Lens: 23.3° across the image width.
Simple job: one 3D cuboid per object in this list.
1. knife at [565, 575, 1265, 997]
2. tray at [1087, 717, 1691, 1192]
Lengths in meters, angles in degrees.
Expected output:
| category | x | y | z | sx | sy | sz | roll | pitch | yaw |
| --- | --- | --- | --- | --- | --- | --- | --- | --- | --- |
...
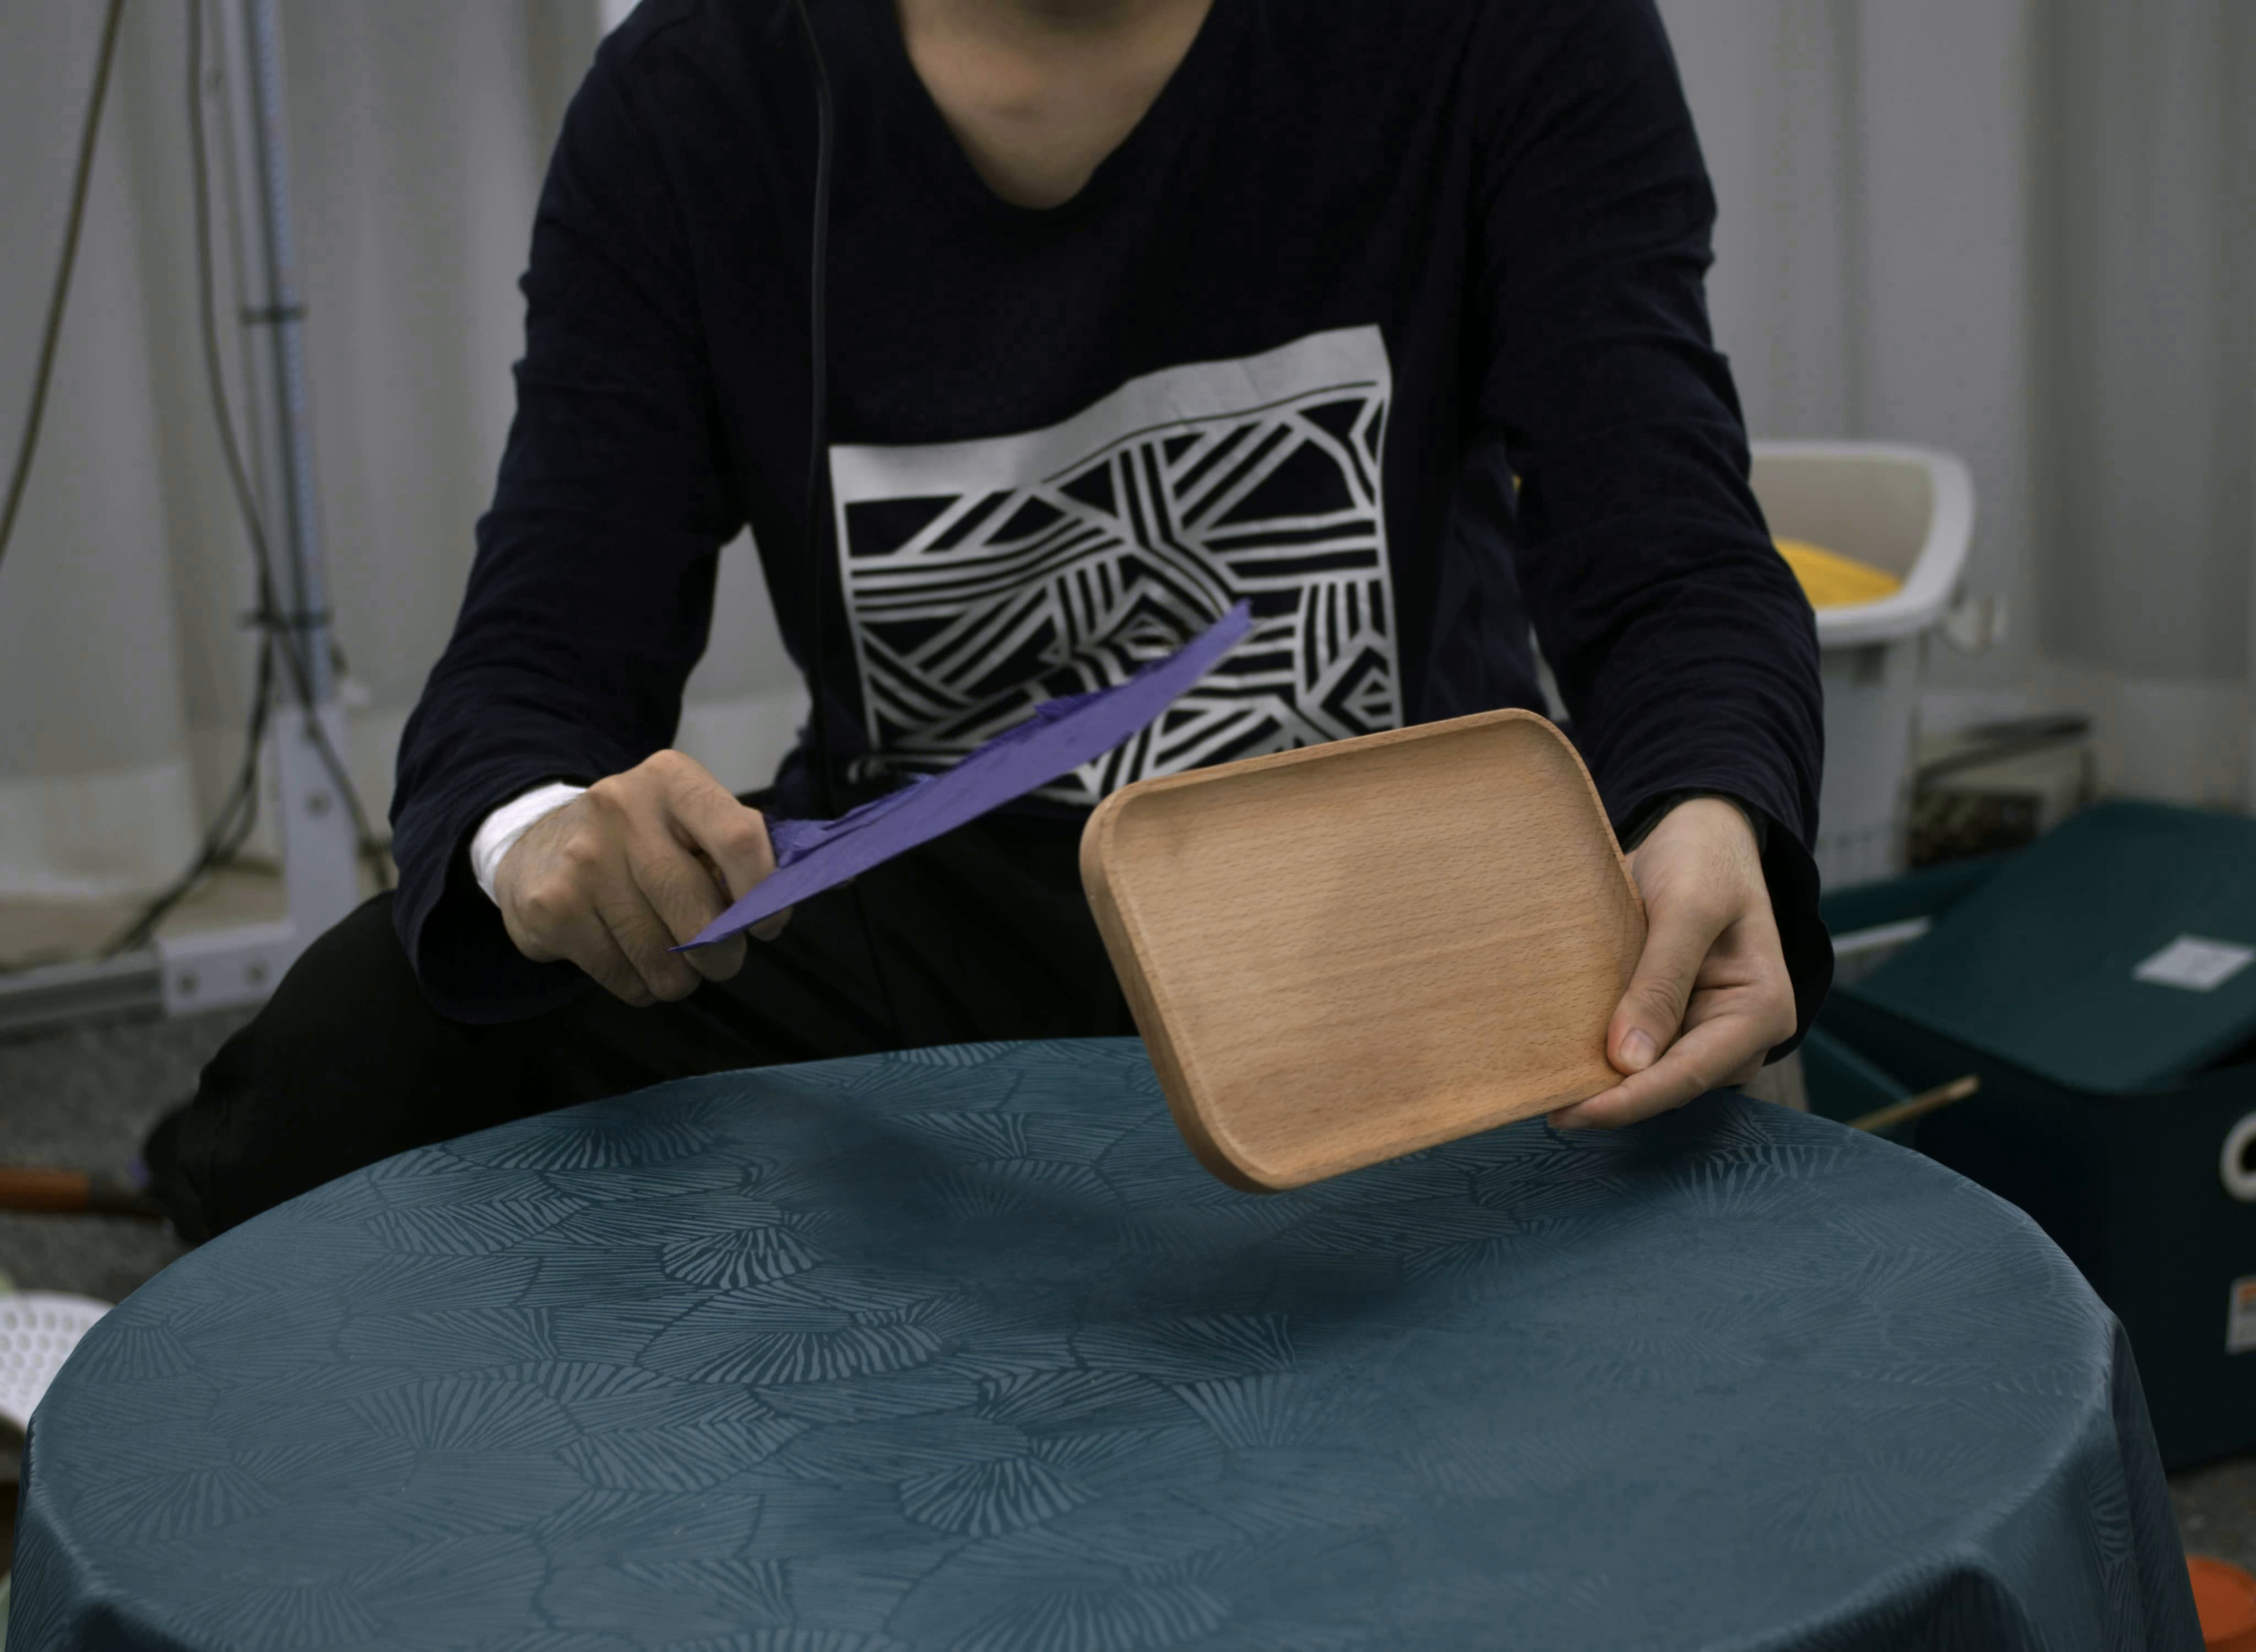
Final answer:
| category | x | y | z | sx | sy | sz | roll | pitch | yaw |
| --- | --- | --- | --- | --- | --- | --- | --- | --- | --- |
| knife | -0.088 | 0.000 | 1.708 | 0.314 | 0.032 | 0.104 | -29 | 8 | 40 |
| tray | 0.081 | 0.036 | 1.648 | 0.023 | 0.131 | 0.249 | -25 | -11 | 37 |
